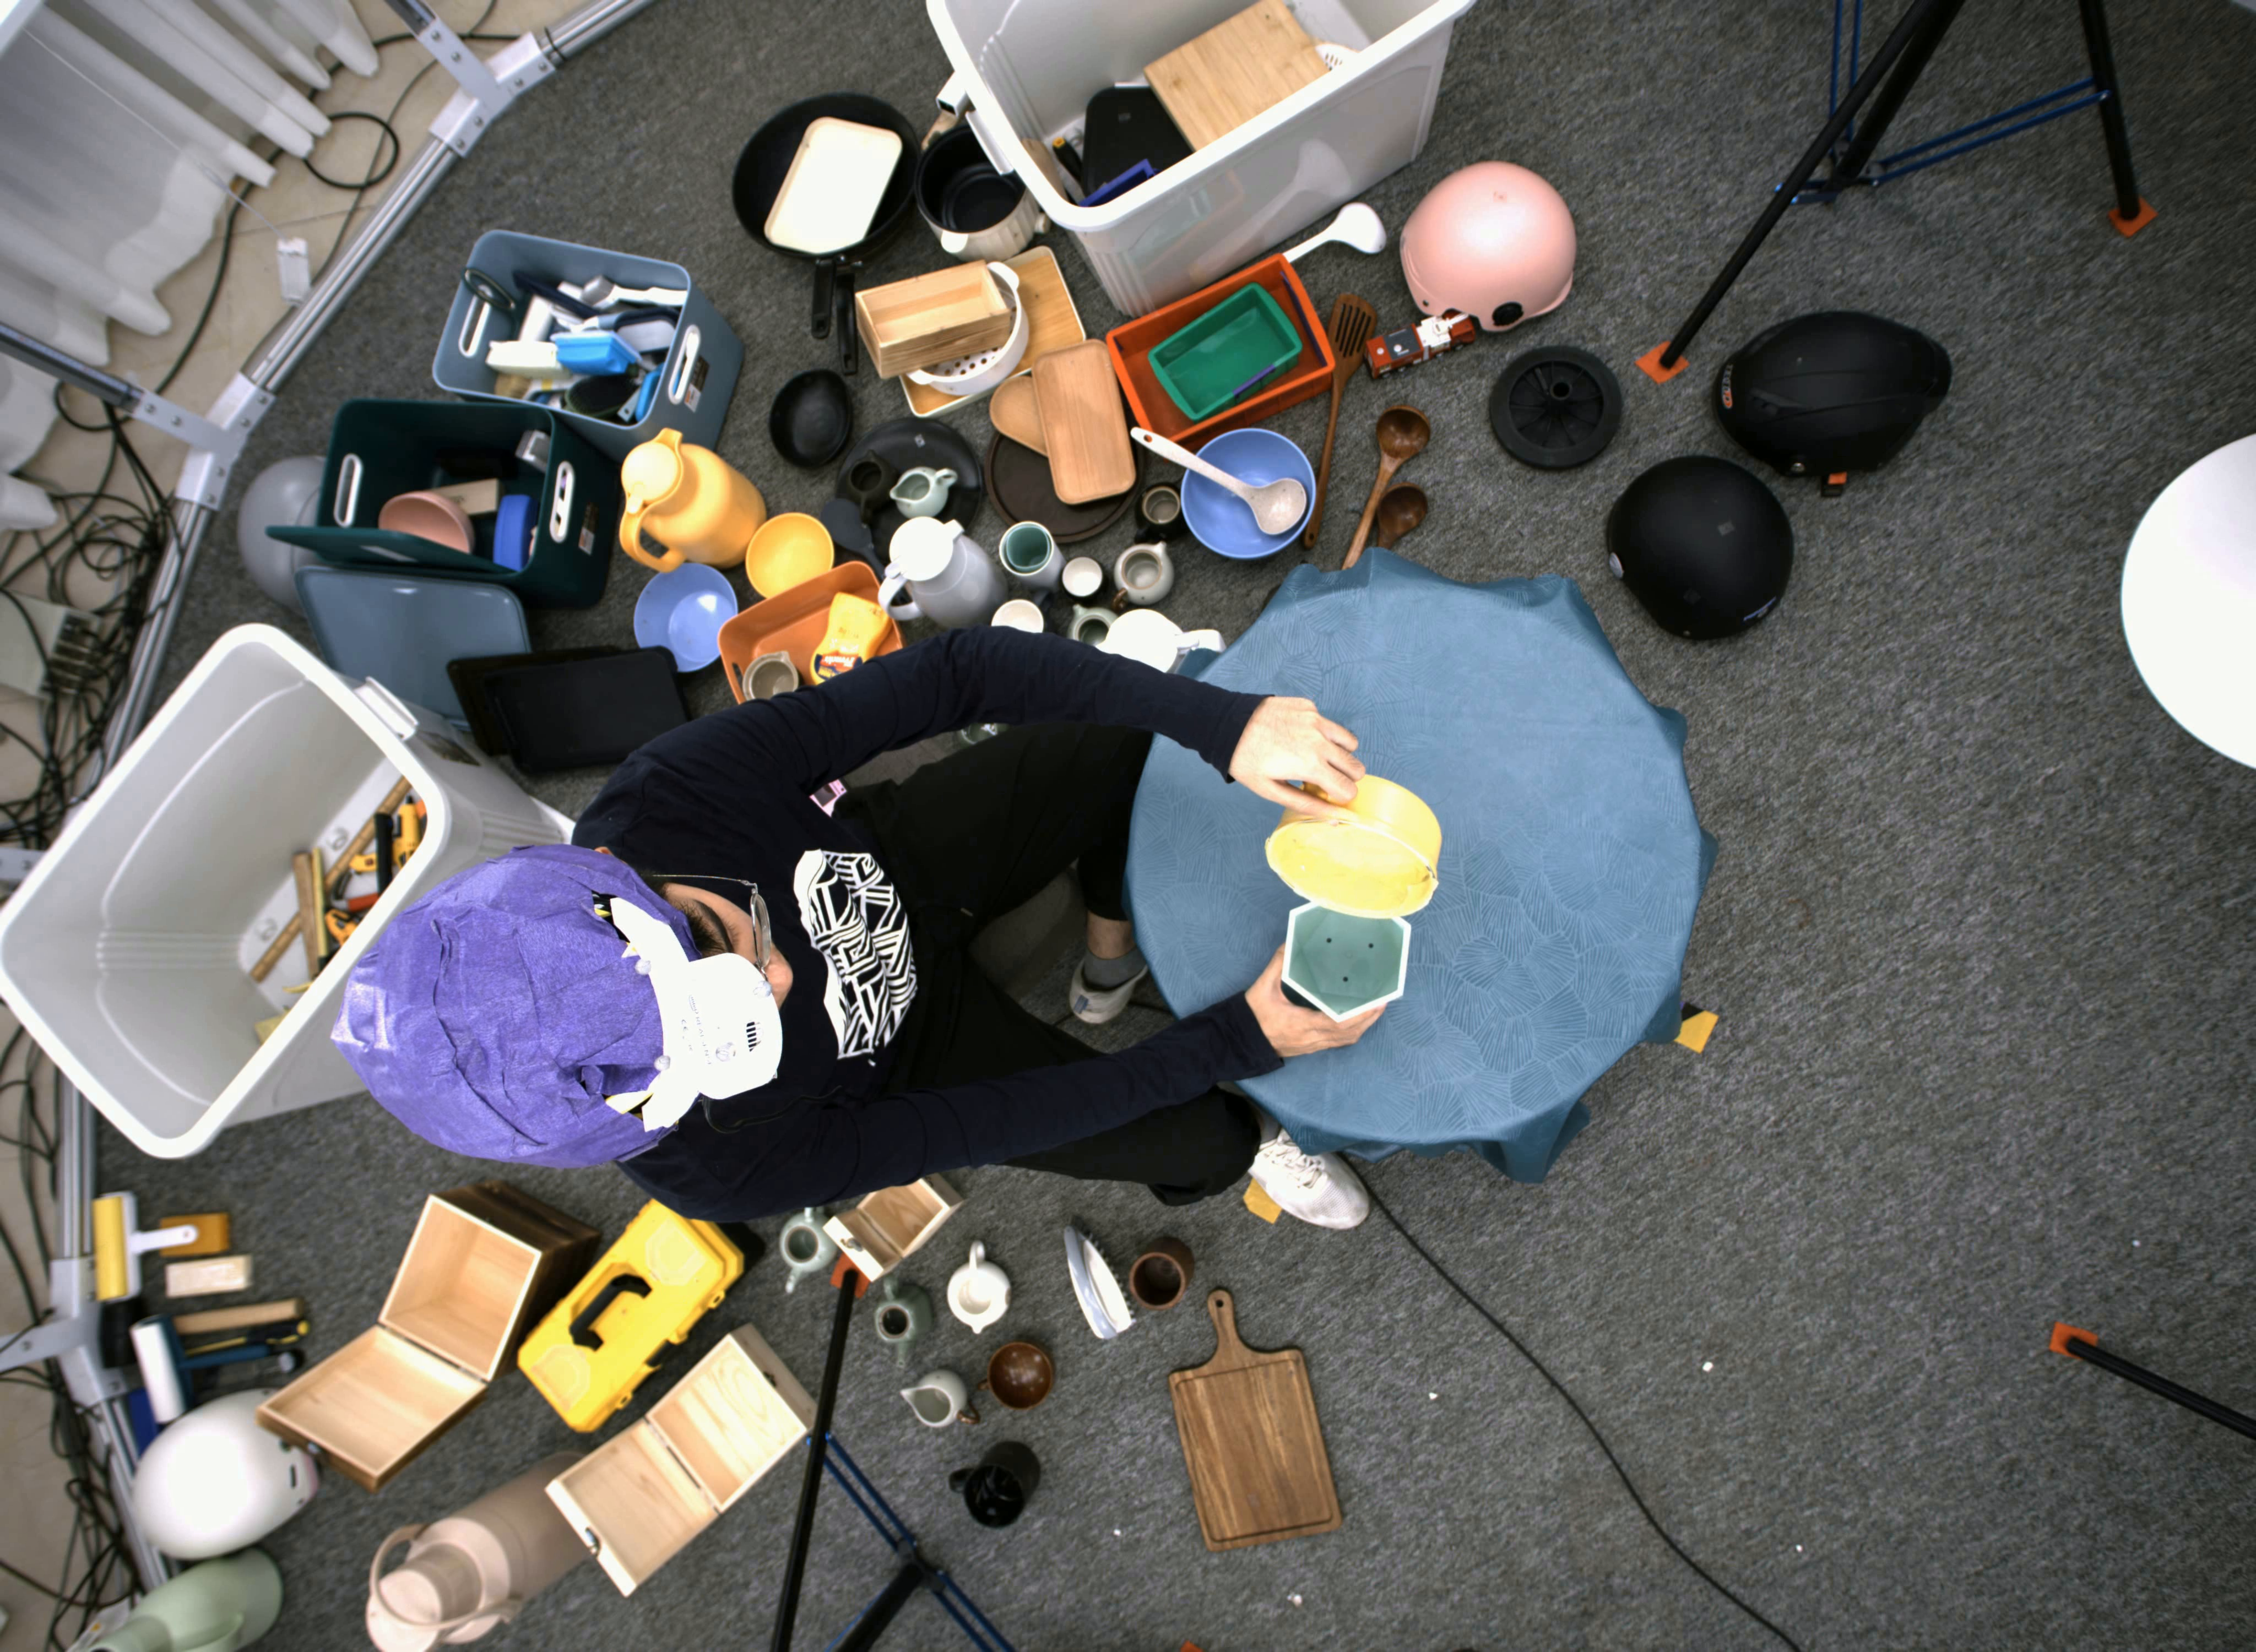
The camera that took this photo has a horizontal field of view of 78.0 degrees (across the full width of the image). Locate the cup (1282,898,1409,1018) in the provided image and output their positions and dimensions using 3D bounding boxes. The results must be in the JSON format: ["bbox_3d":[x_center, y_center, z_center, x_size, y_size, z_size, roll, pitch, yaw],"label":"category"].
[{"bbox_3d":[0.220,0.125,1.382,0.115,0.163,0.130,5,85,12],"label":"cup"}]

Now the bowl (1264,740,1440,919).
[{"bbox_3d":[0.200,0.006,1.220,0.154,0.182,0.073,4,58,35],"label":"bowl"}]
